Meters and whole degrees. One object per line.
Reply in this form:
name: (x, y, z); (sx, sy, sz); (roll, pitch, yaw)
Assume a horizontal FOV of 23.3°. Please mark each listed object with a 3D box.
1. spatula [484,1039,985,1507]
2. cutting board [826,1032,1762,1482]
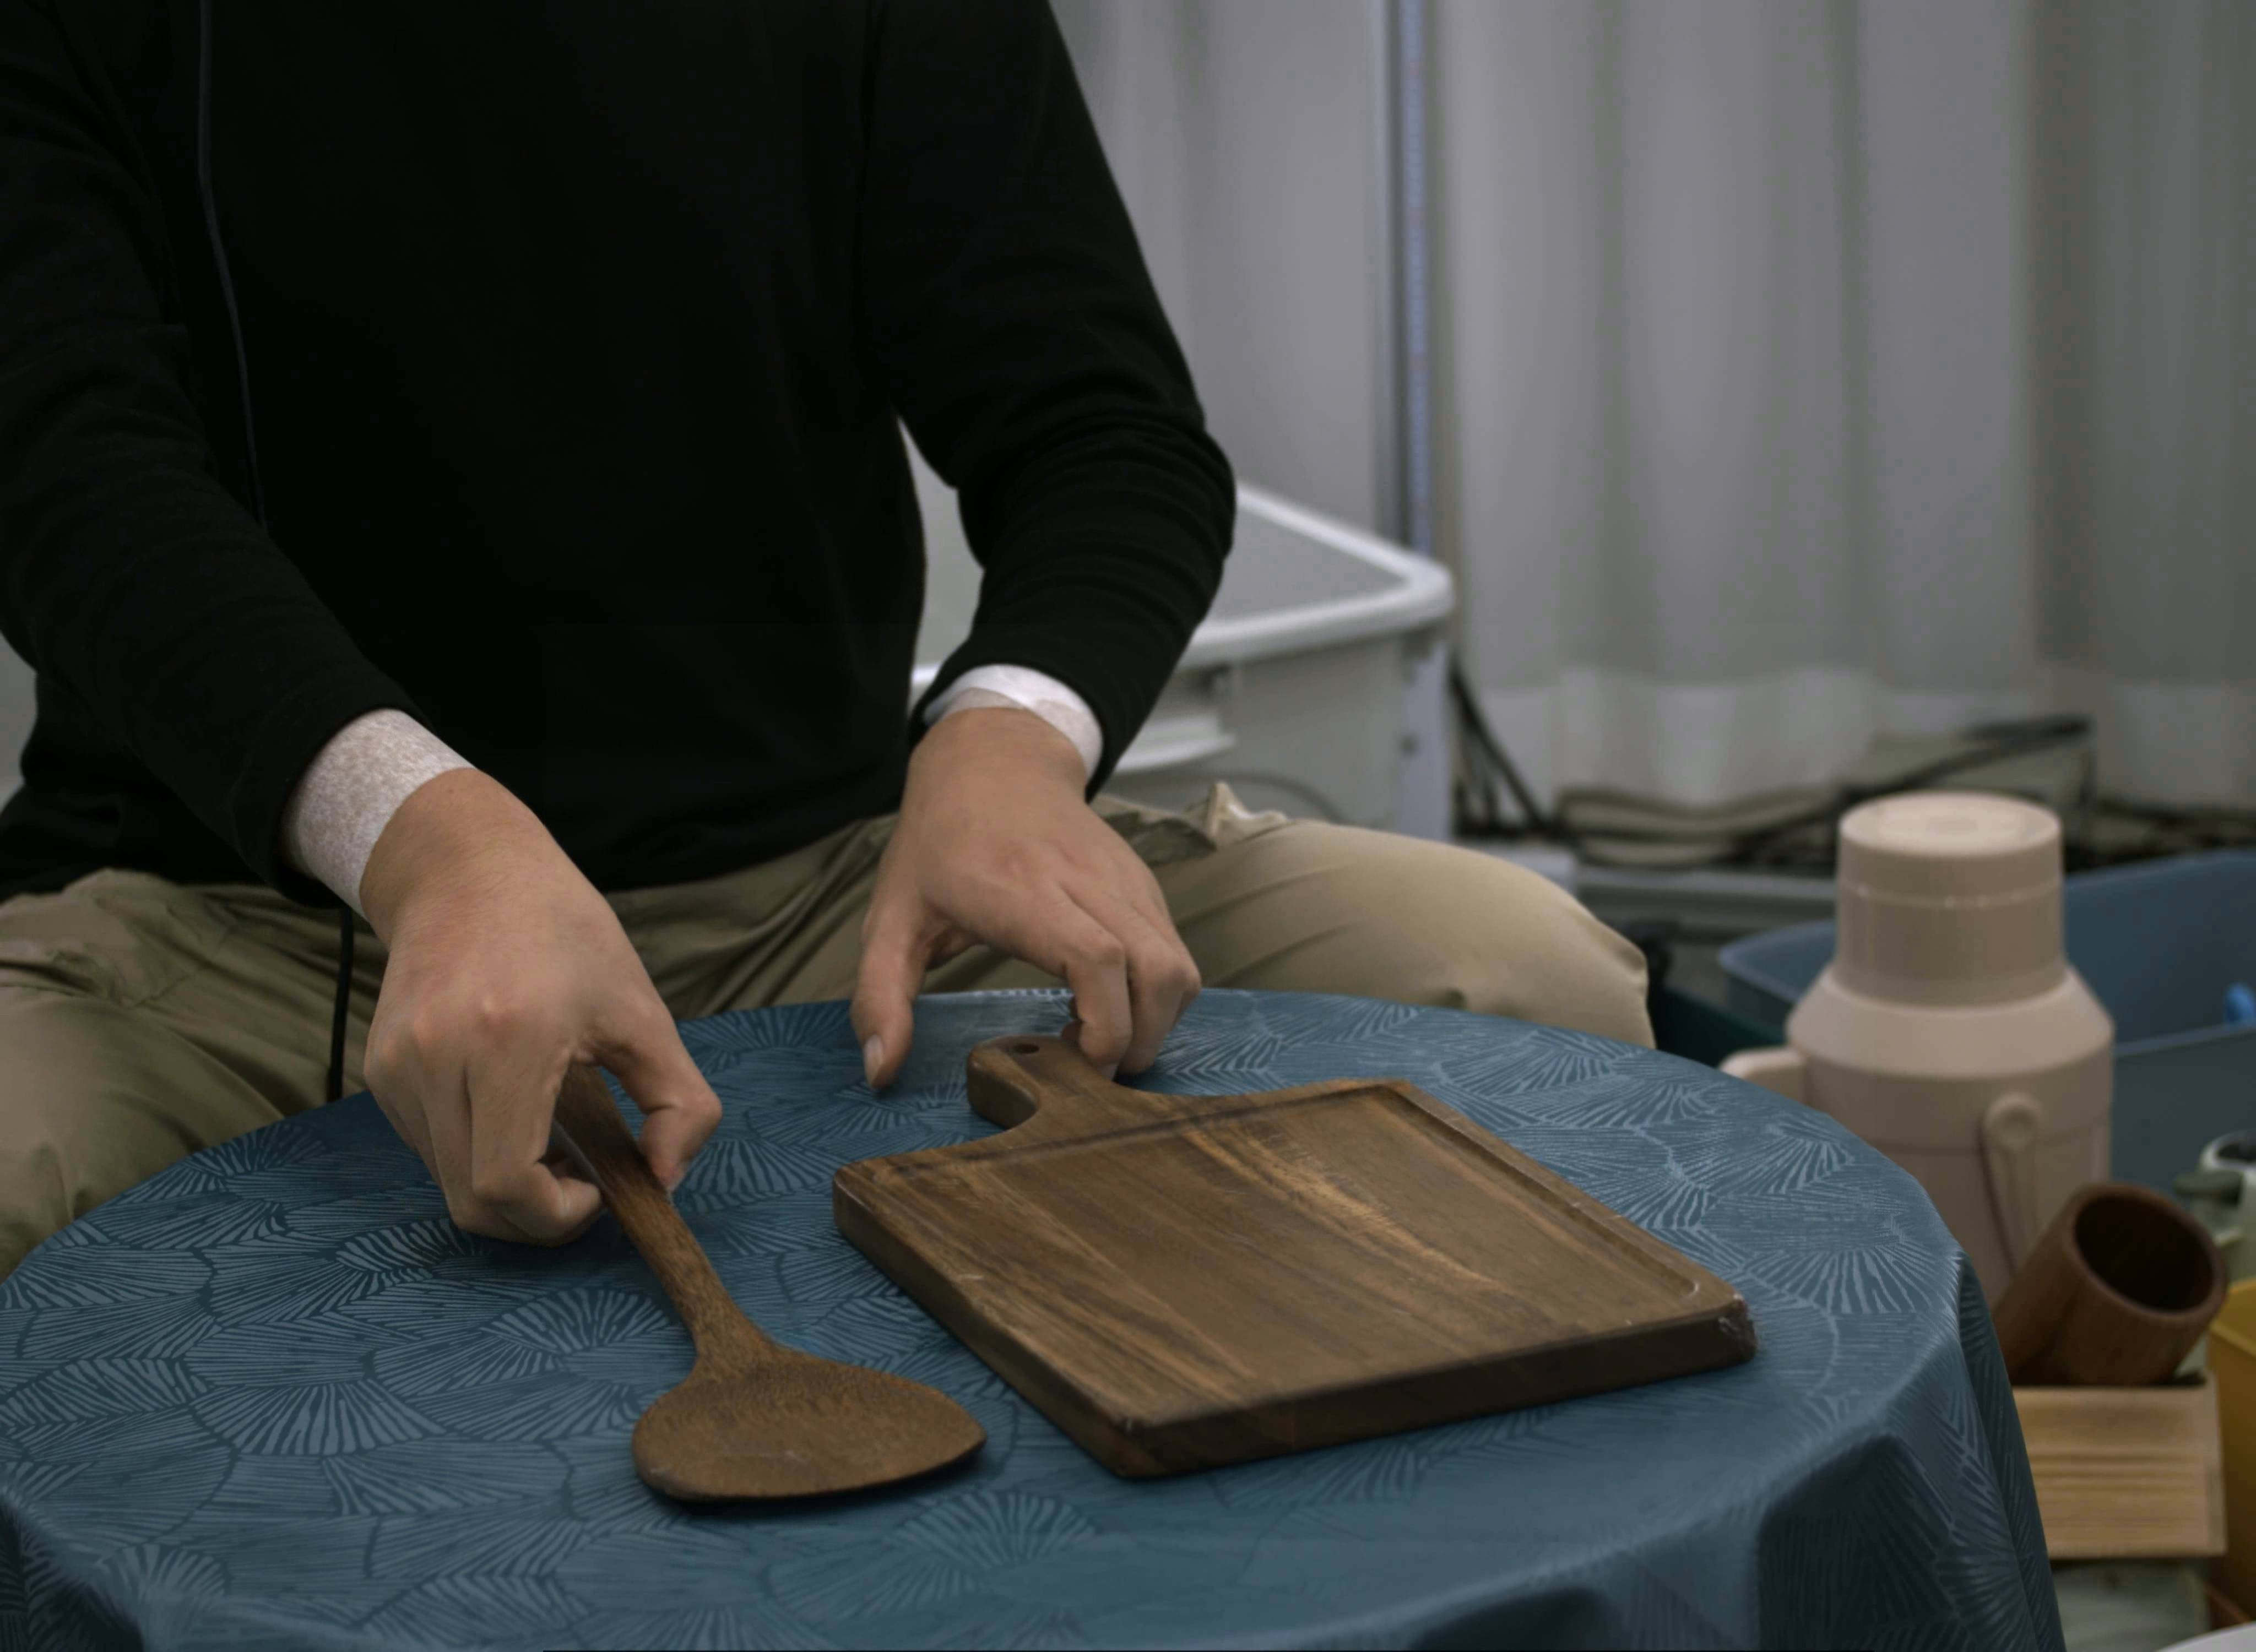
spatula: (-0.140, 0.126, 1.641); (0.095, 0.016, 0.389); (-7, 19, -18)
cutting board: (0.024, 0.117, 1.660); (0.200, 0.023, 0.355); (-8, 16, -21)
